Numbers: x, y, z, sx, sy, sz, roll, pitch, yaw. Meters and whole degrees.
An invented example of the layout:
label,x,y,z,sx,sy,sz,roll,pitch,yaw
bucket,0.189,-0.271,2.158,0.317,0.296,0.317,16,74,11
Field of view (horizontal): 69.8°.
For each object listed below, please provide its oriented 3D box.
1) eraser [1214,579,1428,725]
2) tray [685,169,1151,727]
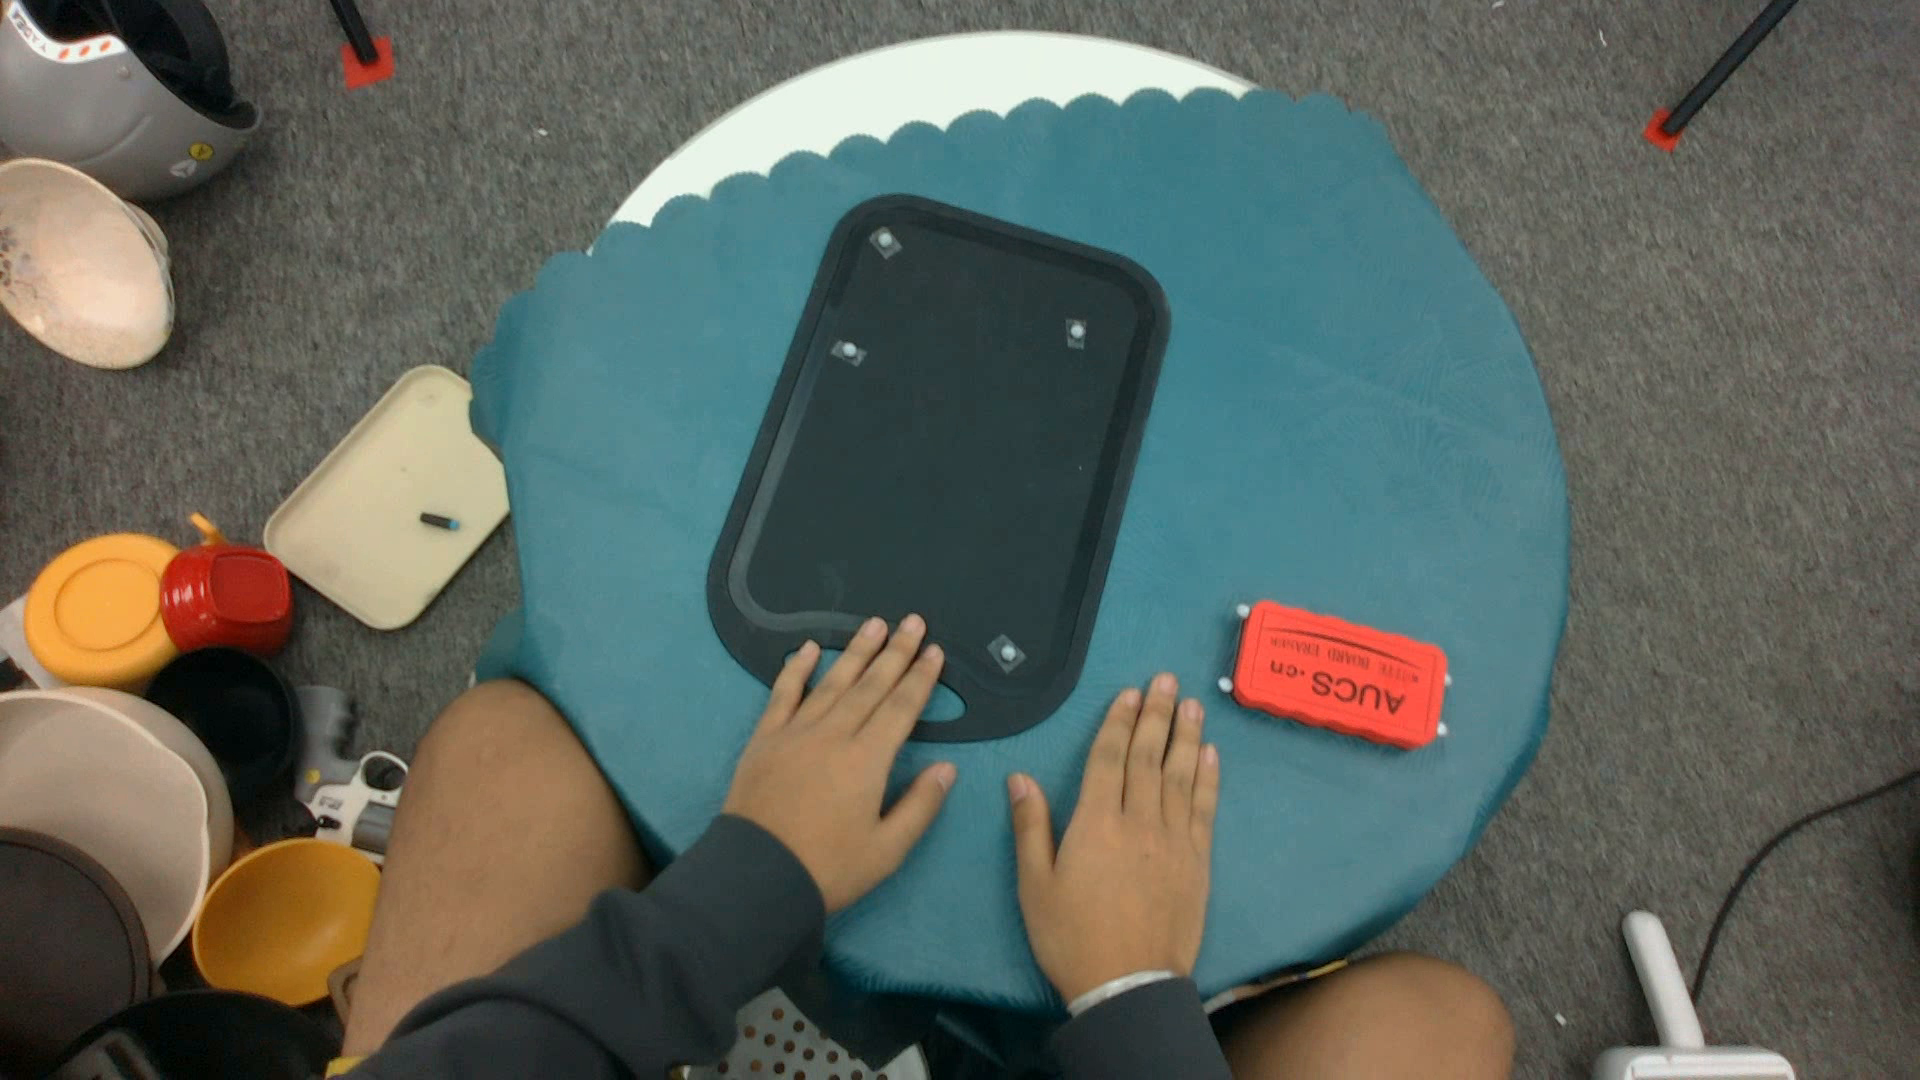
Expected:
label,x,y,z,sx,sy,sz,roll,pitch,yaw
eraser,0.194,0.060,0.741,0.108,0.023,0.059,14,69,0
tray,-0.018,-0.057,0.769,0.211,0.010,0.326,16,70,0
